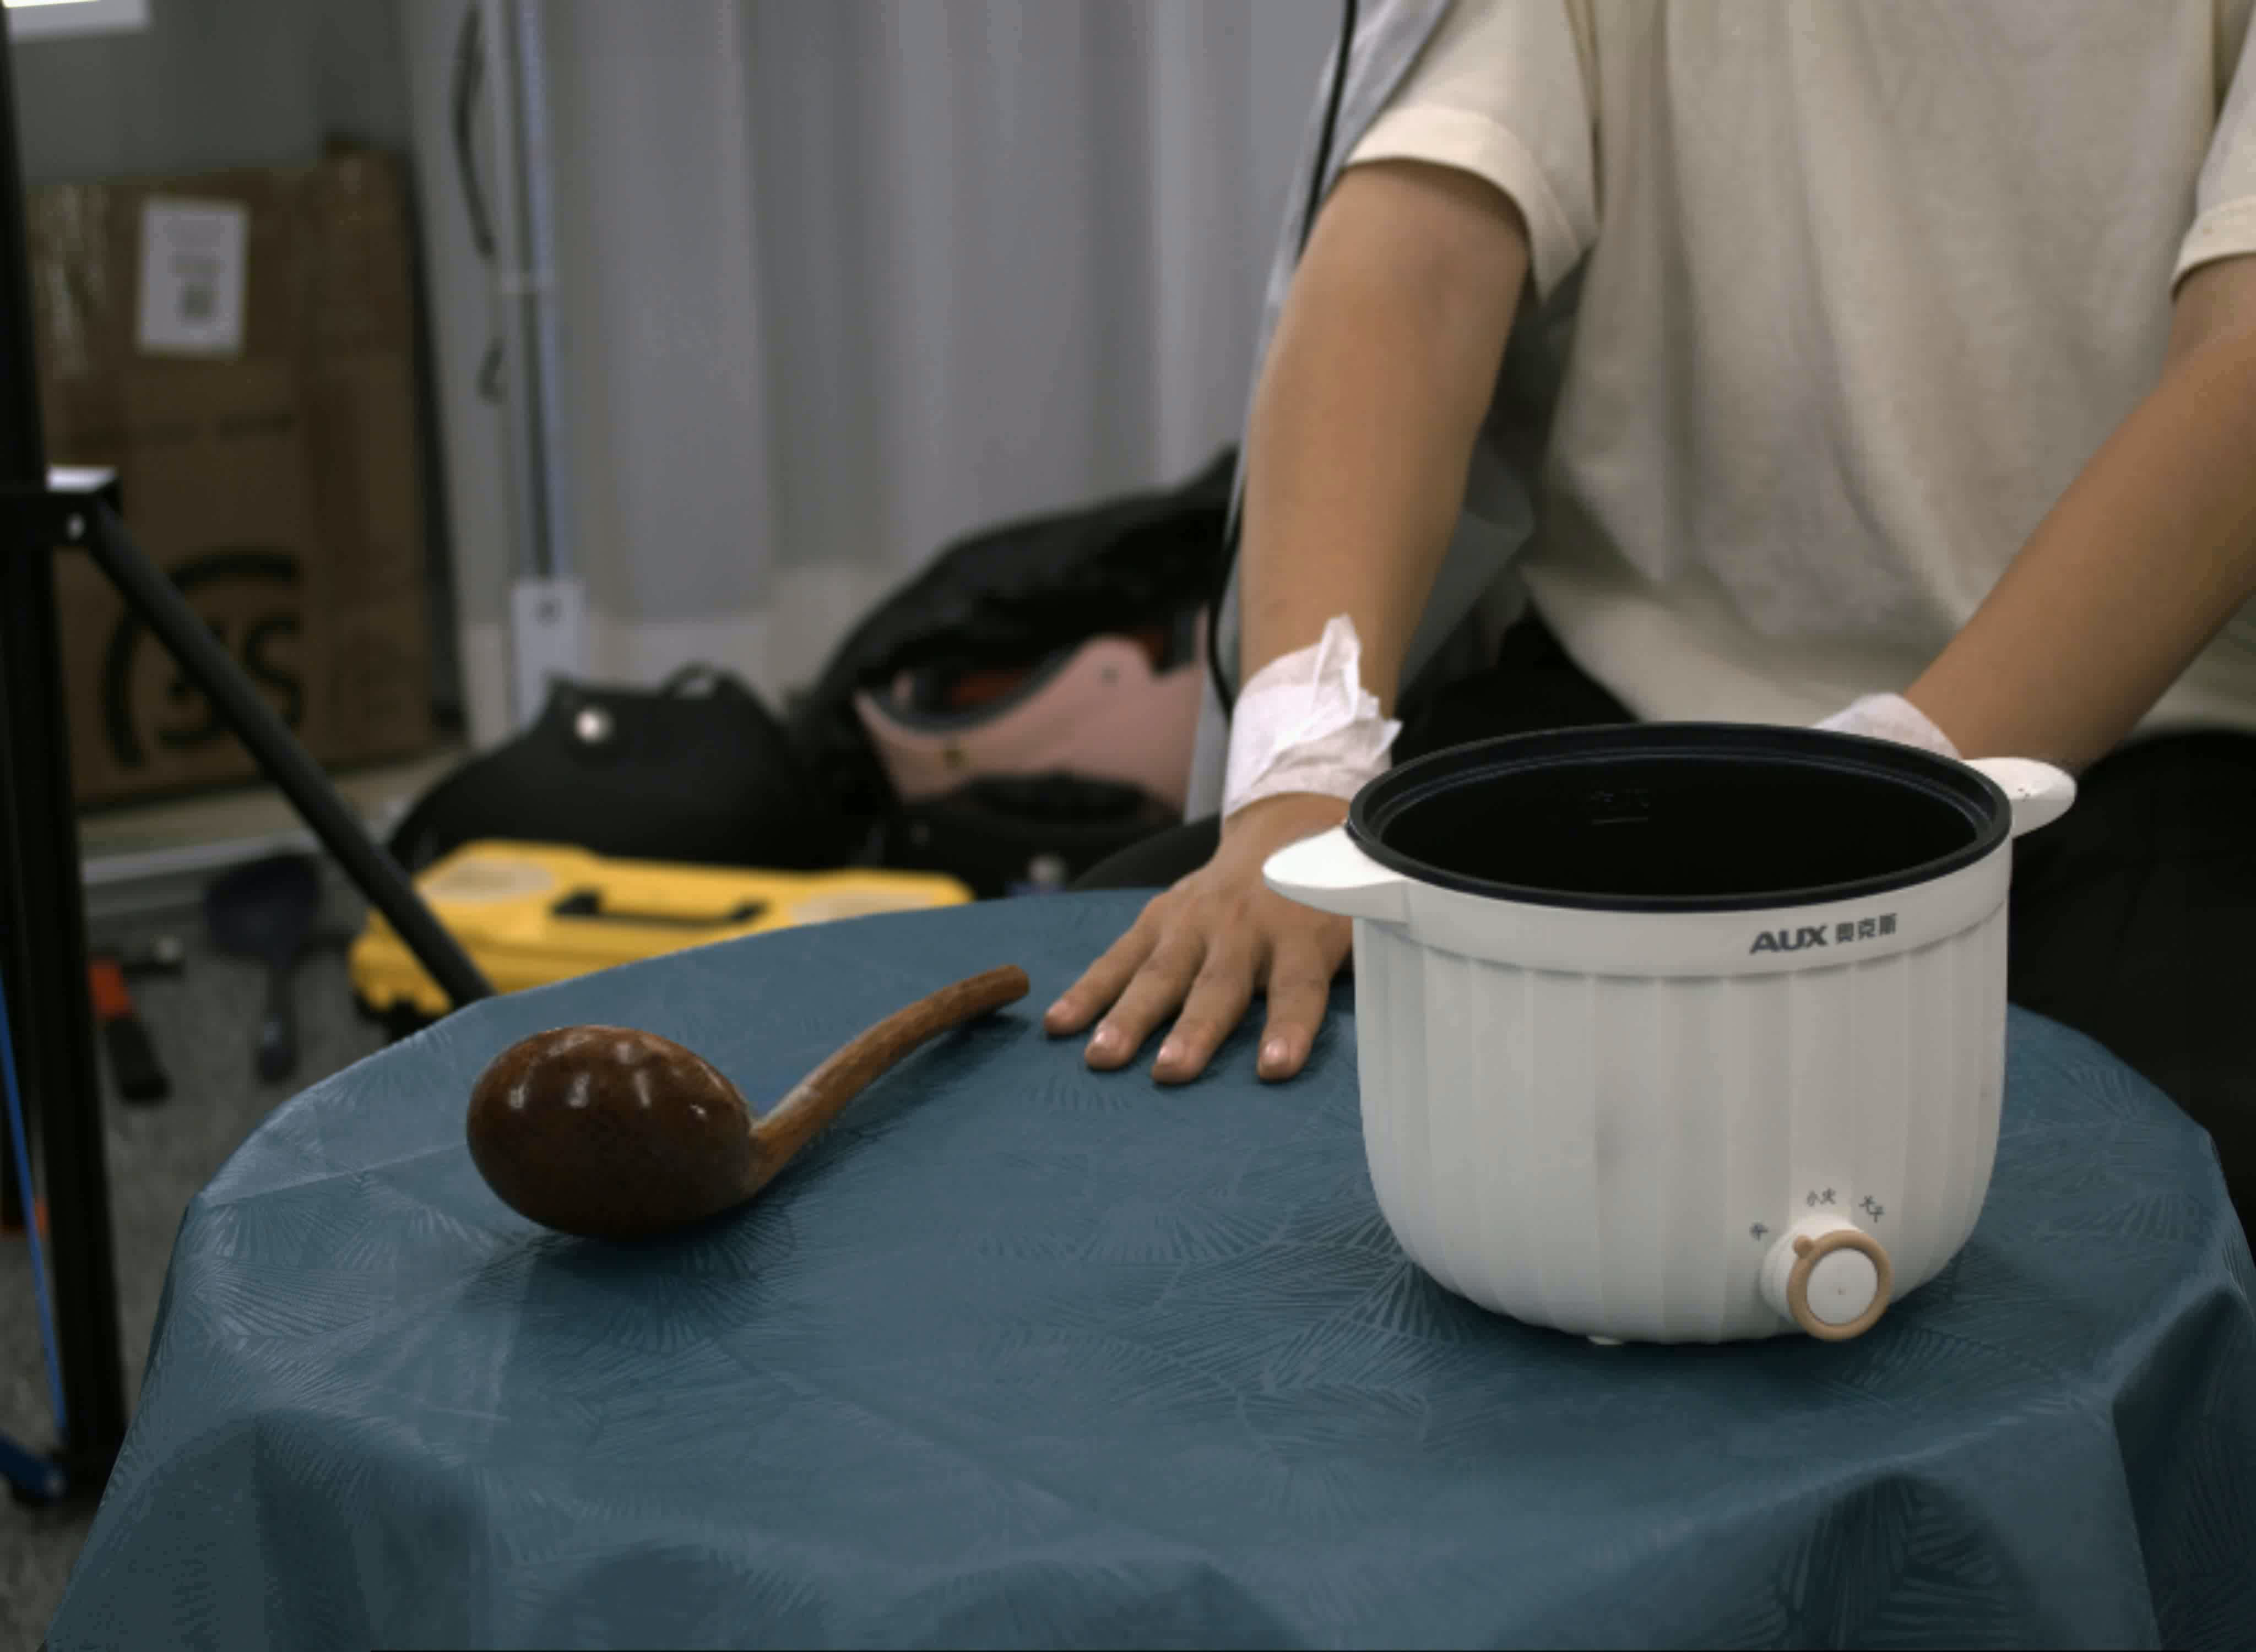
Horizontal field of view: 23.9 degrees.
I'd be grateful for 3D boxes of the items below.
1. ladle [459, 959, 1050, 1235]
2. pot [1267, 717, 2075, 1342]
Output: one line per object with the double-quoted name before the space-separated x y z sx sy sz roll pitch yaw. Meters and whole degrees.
"ladle" -0.107 0.059 1.609 0.083 0.076 0.270 -22 6 30
"pot" 0.156 0.058 1.449 0.236 0.143 0.193 -8 12 -17
